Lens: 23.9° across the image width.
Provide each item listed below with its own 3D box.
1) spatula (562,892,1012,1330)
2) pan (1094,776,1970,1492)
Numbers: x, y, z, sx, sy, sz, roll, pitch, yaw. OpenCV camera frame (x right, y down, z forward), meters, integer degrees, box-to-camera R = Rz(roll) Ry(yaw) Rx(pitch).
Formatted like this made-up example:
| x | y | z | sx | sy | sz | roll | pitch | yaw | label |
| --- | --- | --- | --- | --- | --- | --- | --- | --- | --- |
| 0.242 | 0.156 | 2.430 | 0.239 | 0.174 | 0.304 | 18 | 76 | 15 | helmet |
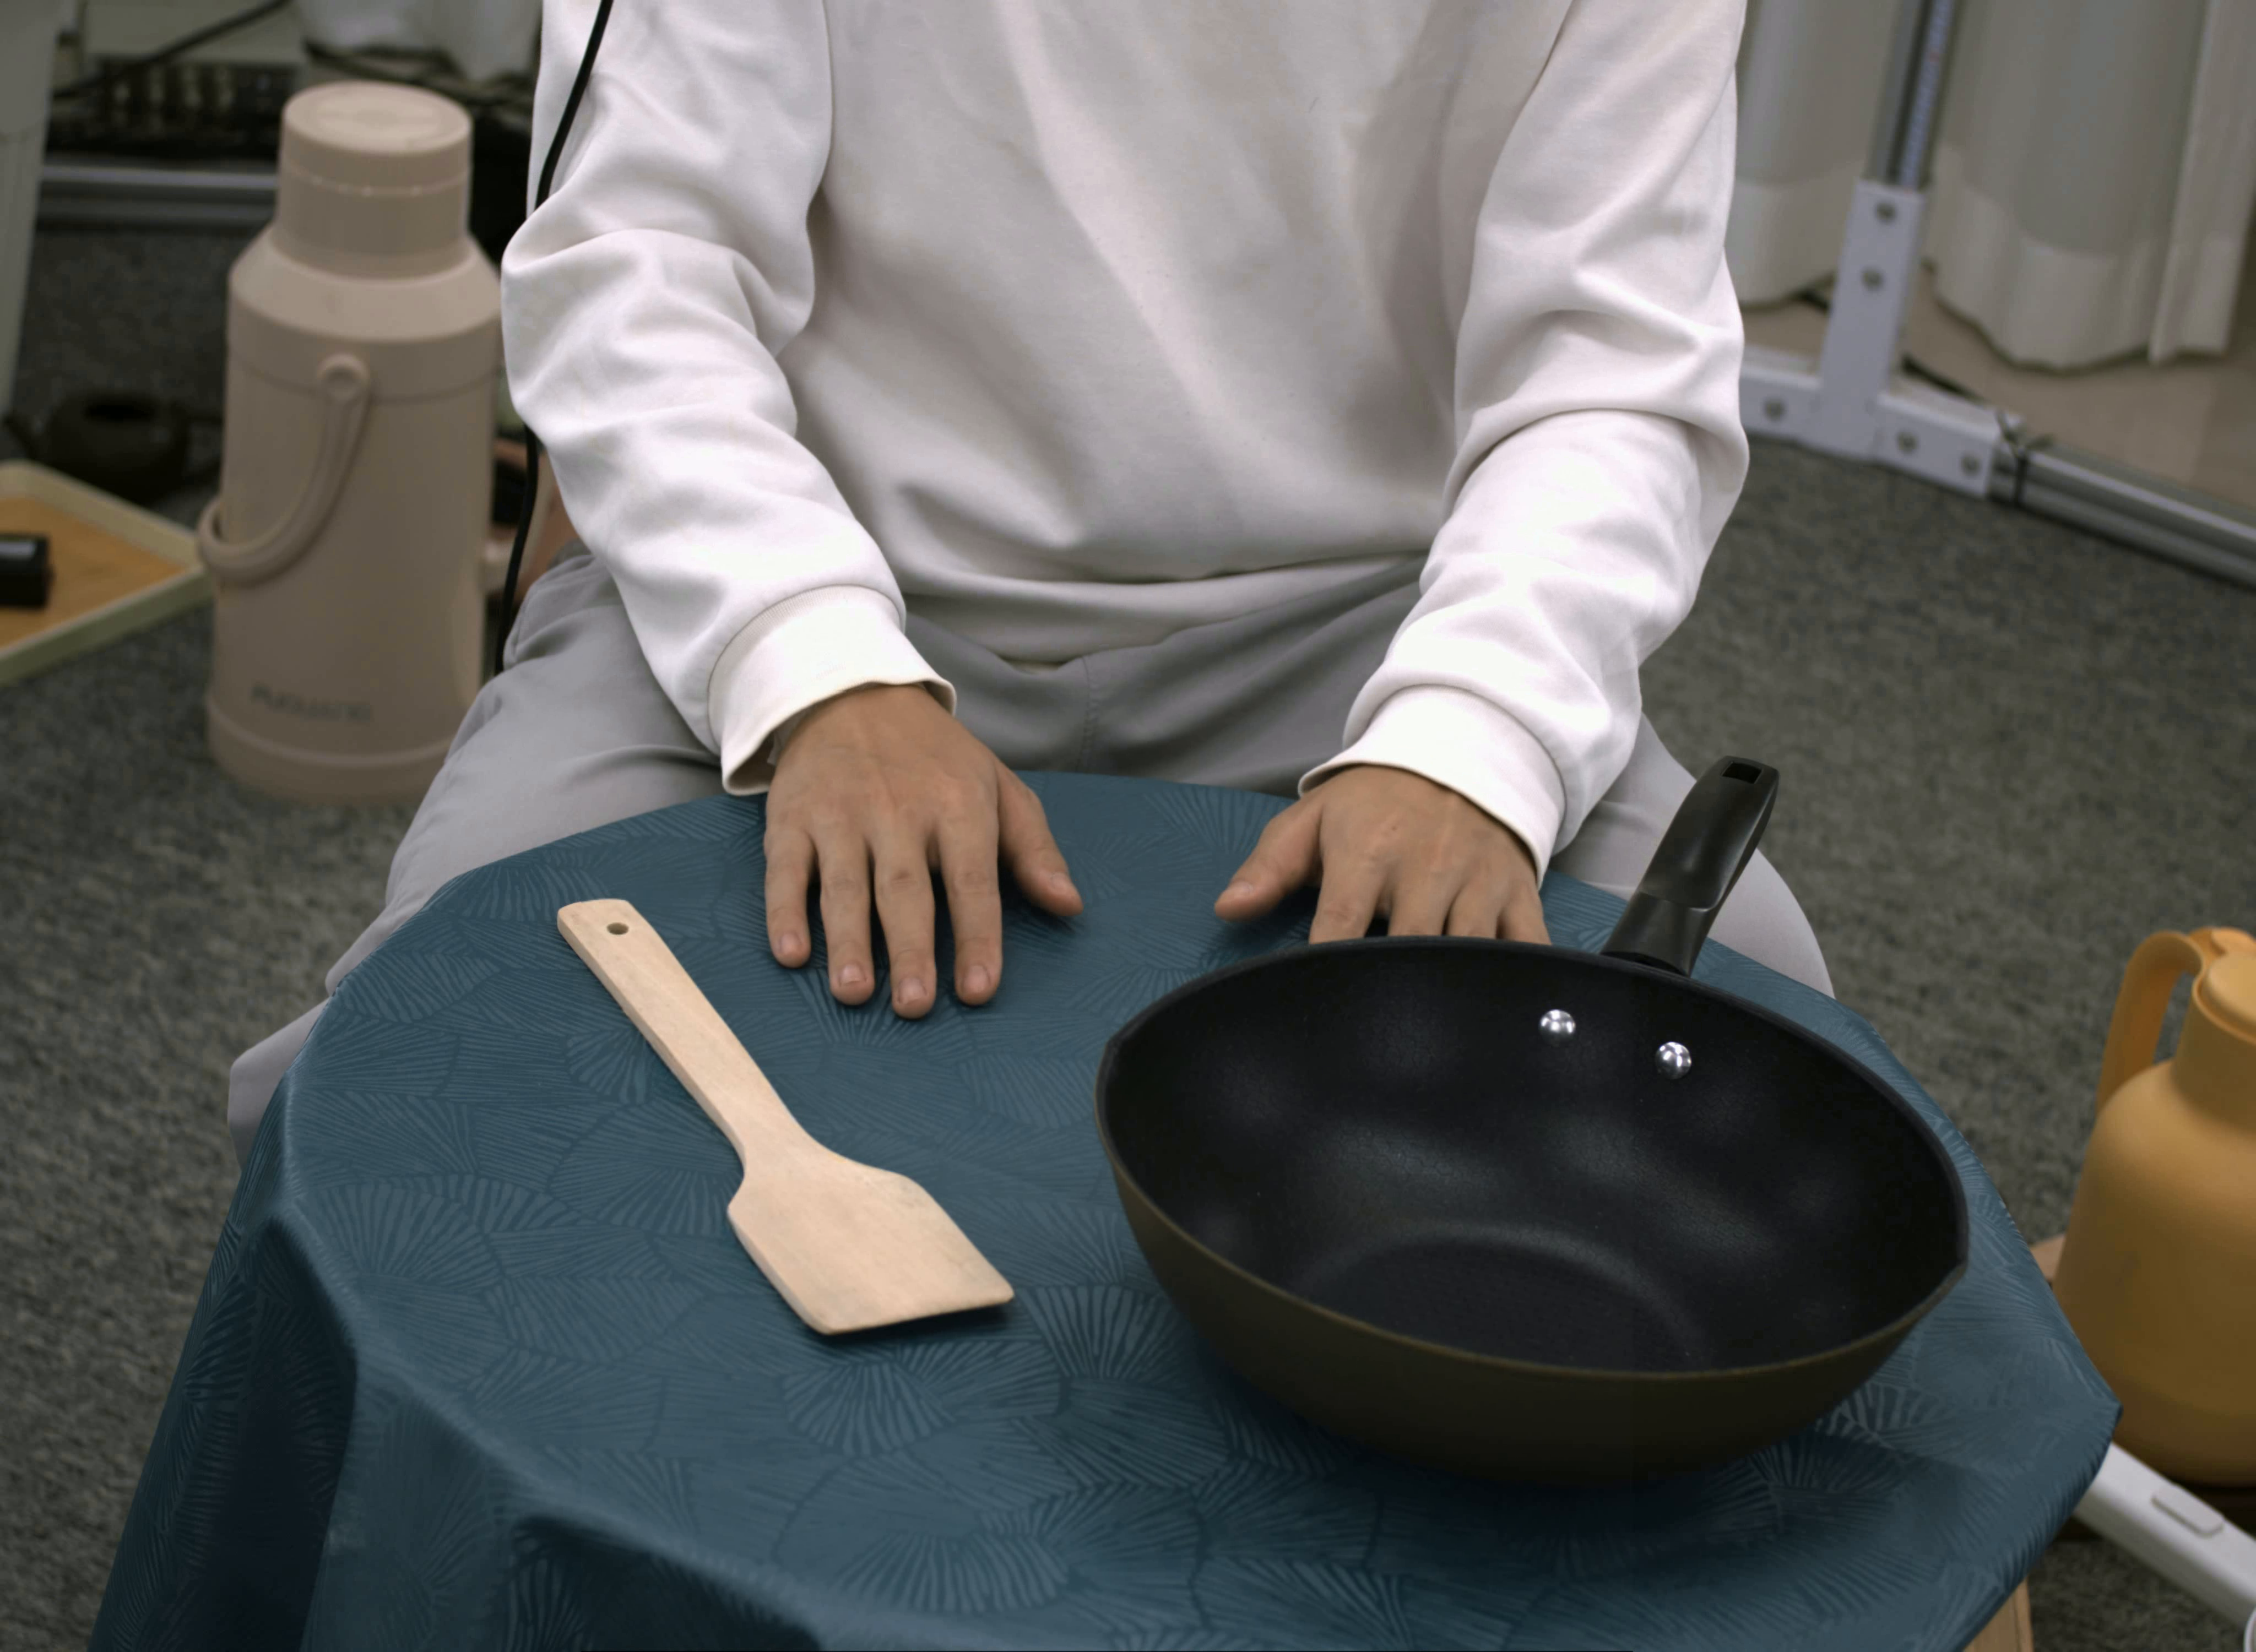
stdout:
| x | y | z | sx | sy | sz | roll | pitch | yaw | label |
| --- | --- | --- | --- | --- | --- | --- | --- | --- | --- |
| -0.132 | 0.093 | 1.825 | 0.072 | 0.010 | 0.296 | -9 | 31 | -26 | spatula |
| 0.154 | 0.101 | 1.798 | 0.288 | 0.086 | 0.464 | 15 | 27 | 14 | pan |
